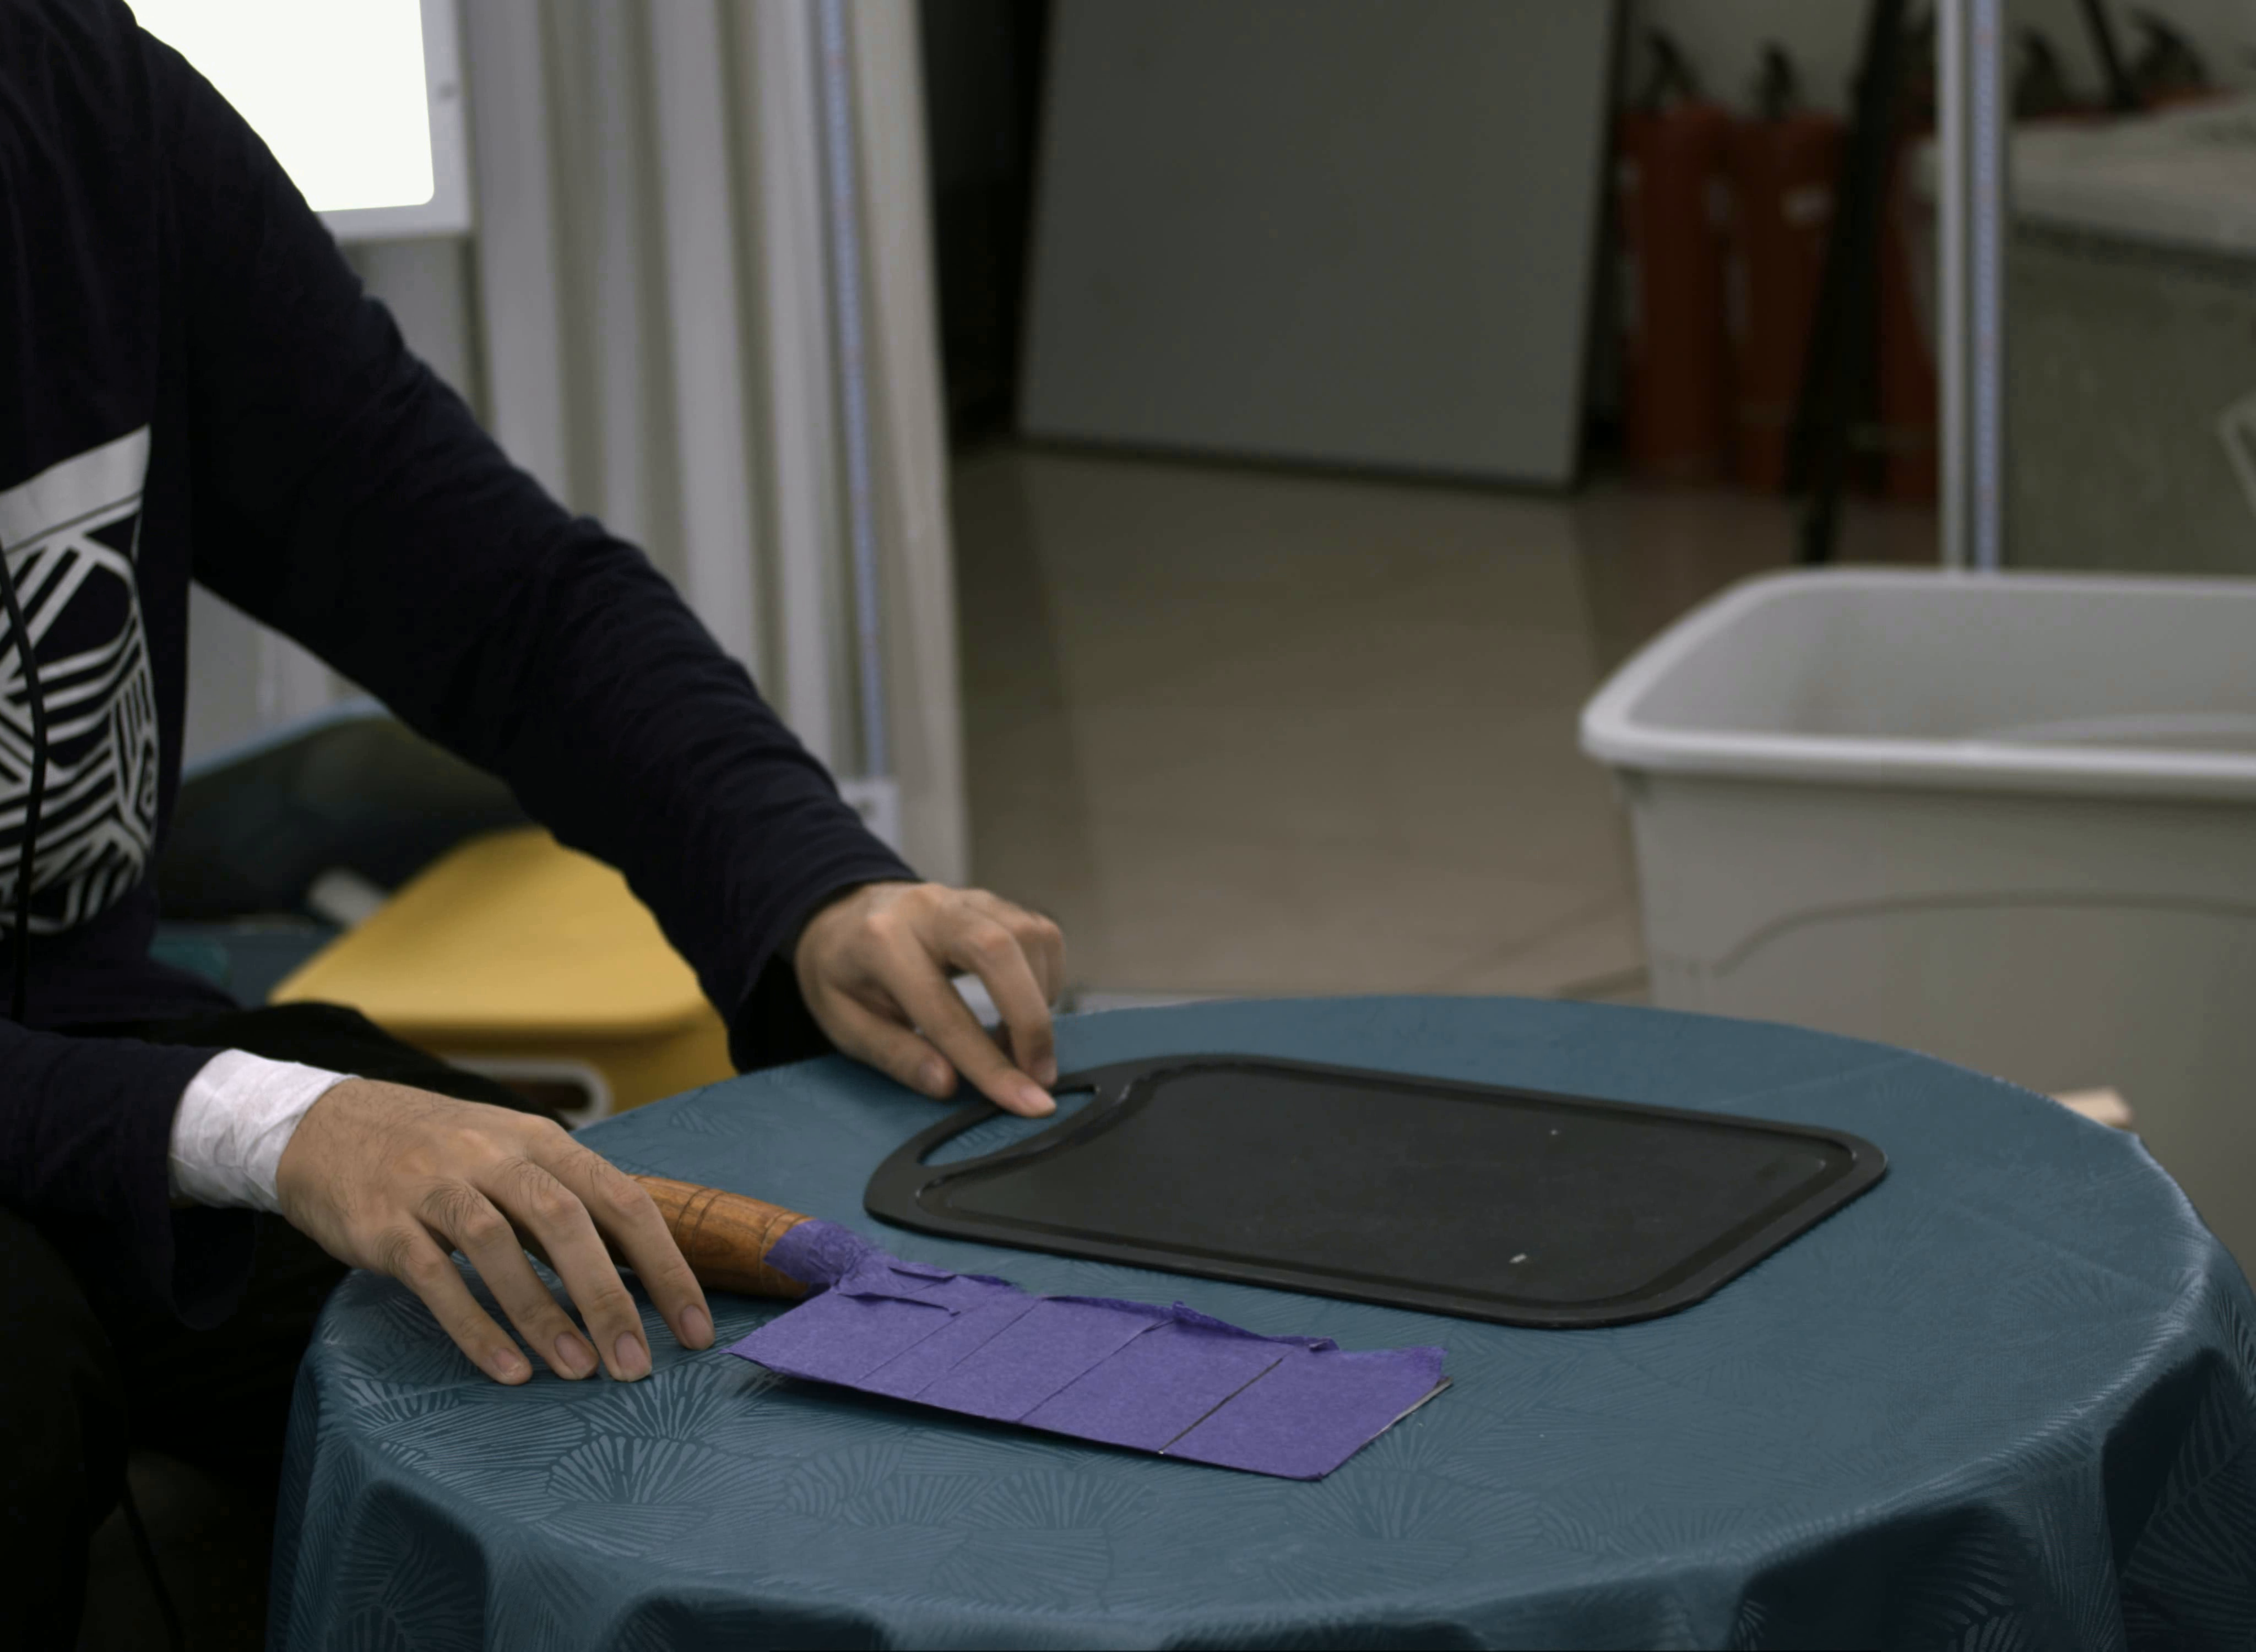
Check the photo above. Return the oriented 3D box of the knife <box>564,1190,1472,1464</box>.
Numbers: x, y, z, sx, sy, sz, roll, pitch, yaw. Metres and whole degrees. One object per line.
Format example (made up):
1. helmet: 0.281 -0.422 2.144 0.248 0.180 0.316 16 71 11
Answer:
1. knife: -0.055 0.149 1.619 0.317 0.032 0.102 5 16 32

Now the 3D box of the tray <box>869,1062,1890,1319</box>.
1. tray: 0.074 0.115 1.766 0.327 0.010 0.207 5 16 35
